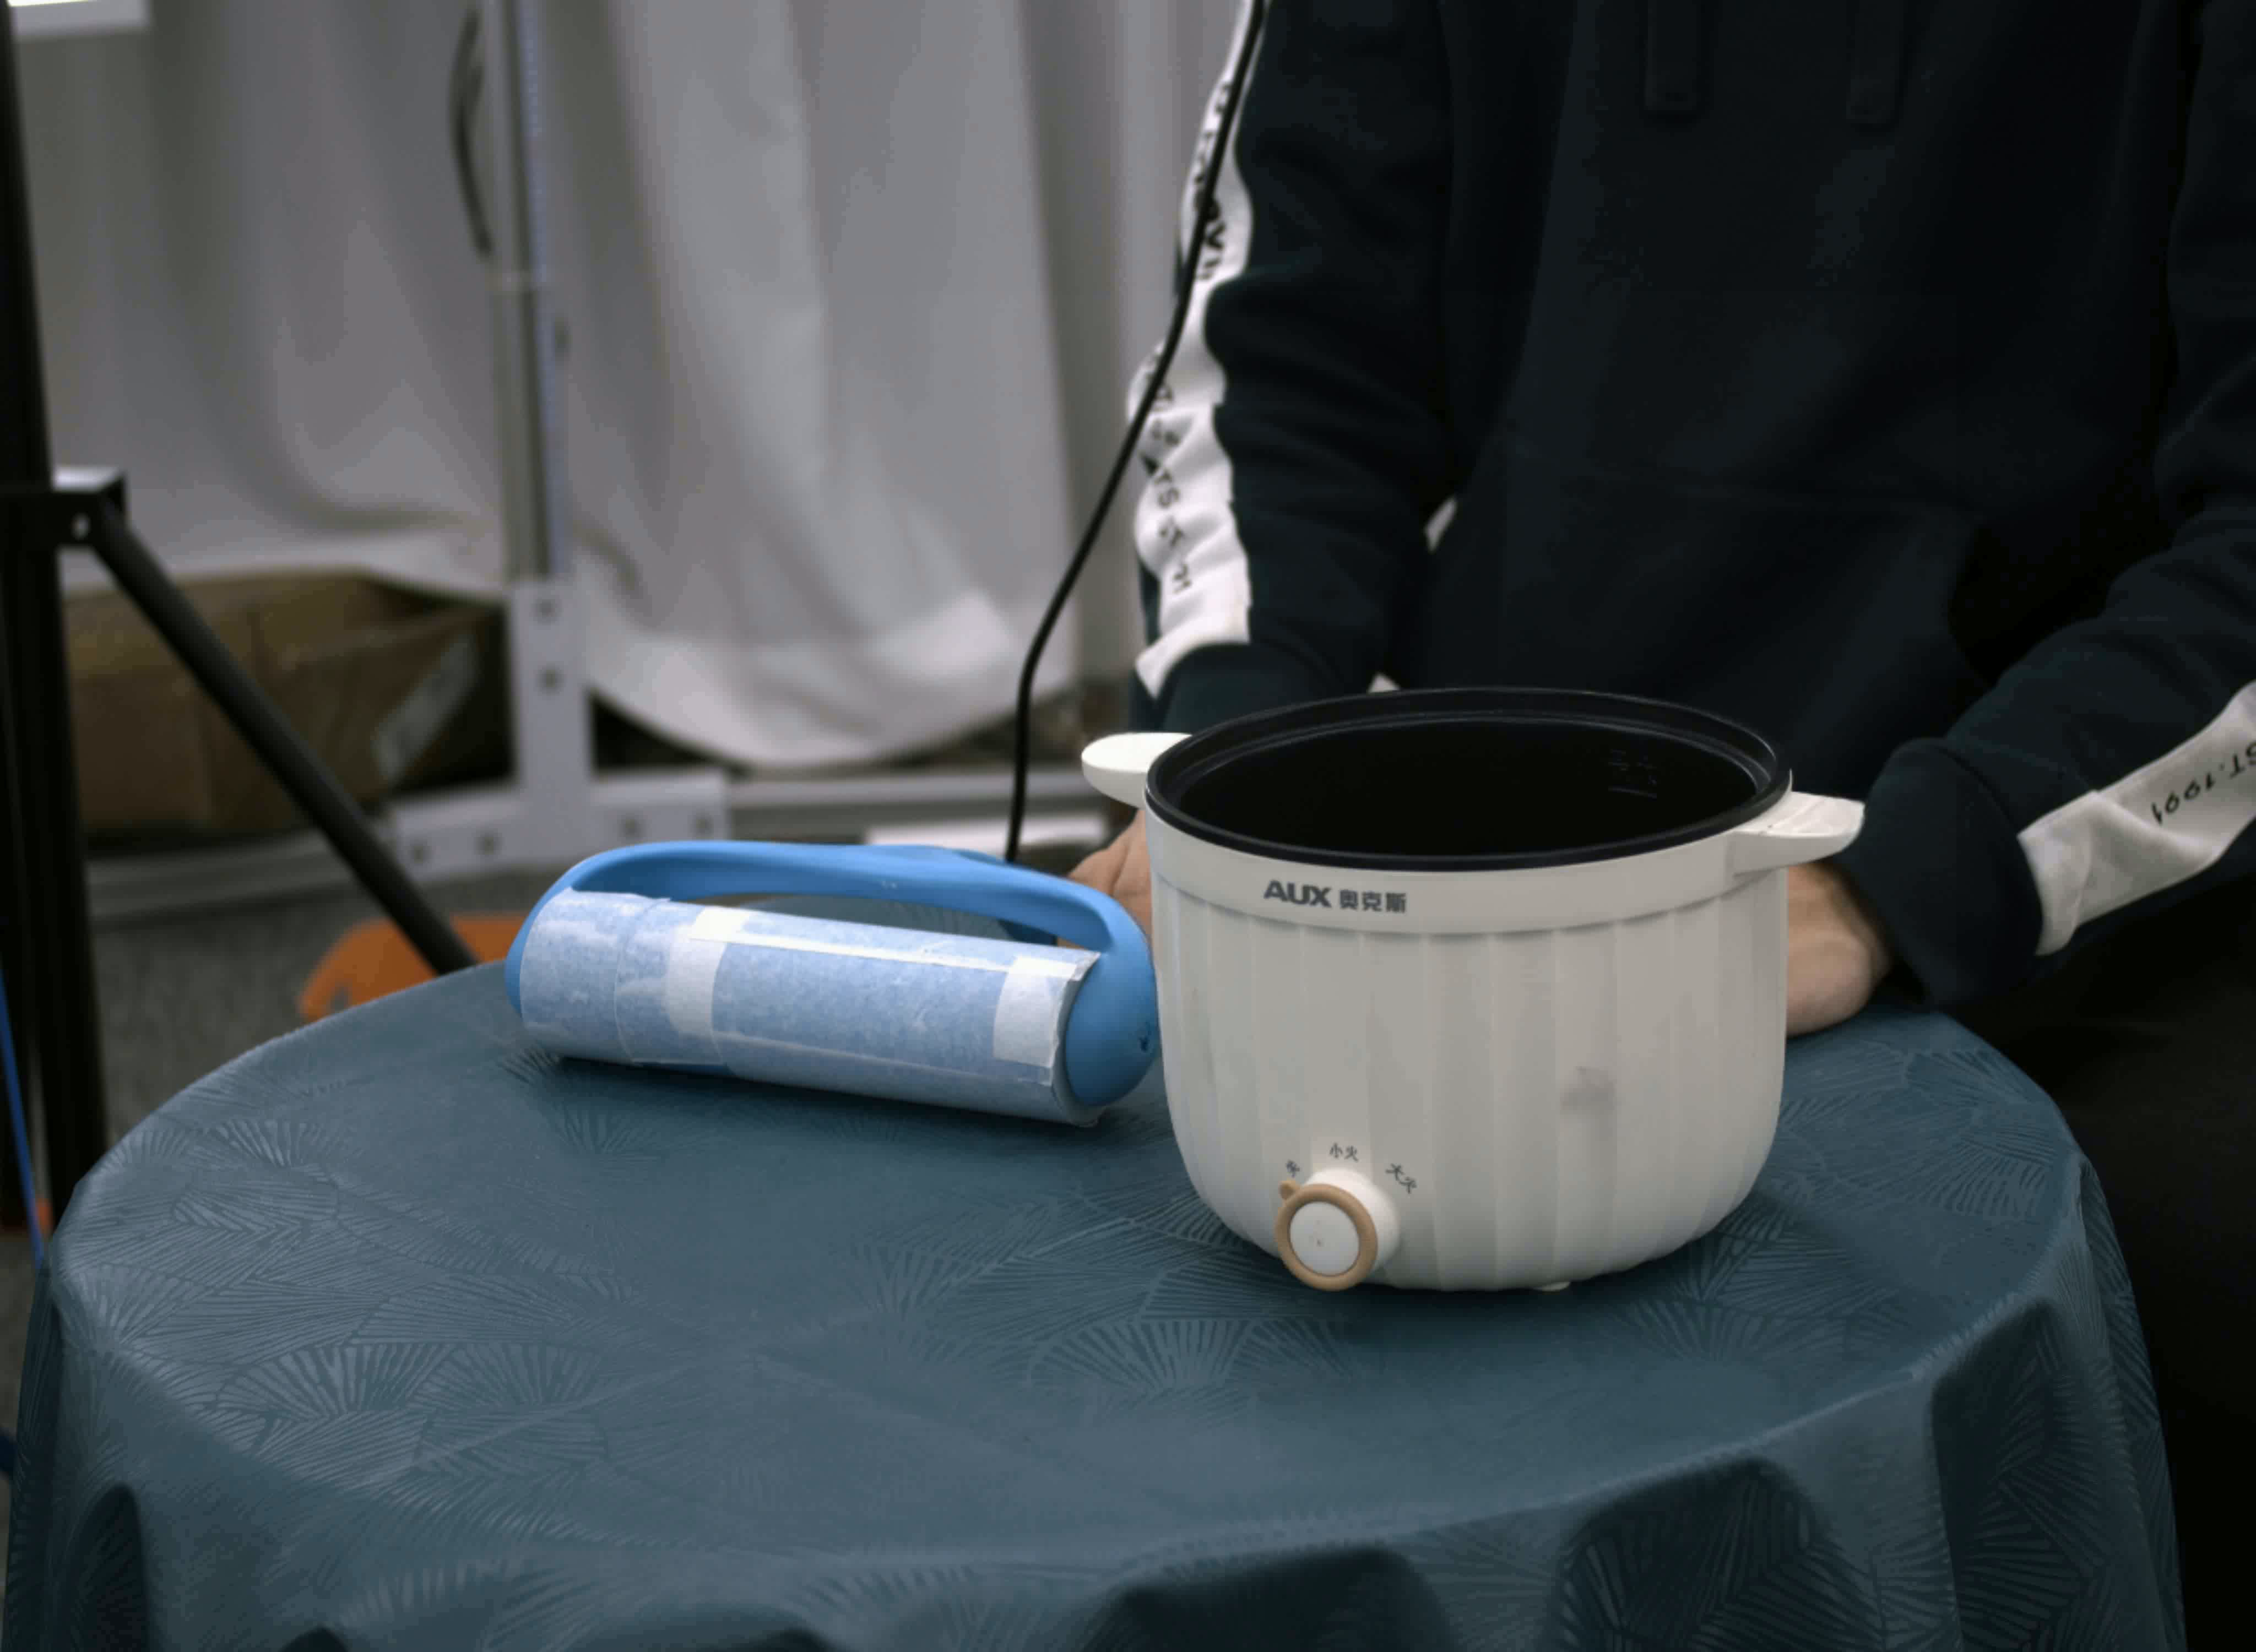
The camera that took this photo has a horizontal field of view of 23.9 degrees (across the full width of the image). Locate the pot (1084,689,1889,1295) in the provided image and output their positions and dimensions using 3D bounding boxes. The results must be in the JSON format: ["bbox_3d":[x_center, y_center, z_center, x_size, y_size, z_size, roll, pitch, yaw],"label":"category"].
[{"bbox_3d":[0.097,0.050,1.493,0.244,0.143,0.187,4,14,28],"label":"pot"}]

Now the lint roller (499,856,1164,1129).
[{"bbox_3d":[-0.072,0.041,1.706,0.232,0.068,0.177,3,17,26],"label":"lint roller"}]
